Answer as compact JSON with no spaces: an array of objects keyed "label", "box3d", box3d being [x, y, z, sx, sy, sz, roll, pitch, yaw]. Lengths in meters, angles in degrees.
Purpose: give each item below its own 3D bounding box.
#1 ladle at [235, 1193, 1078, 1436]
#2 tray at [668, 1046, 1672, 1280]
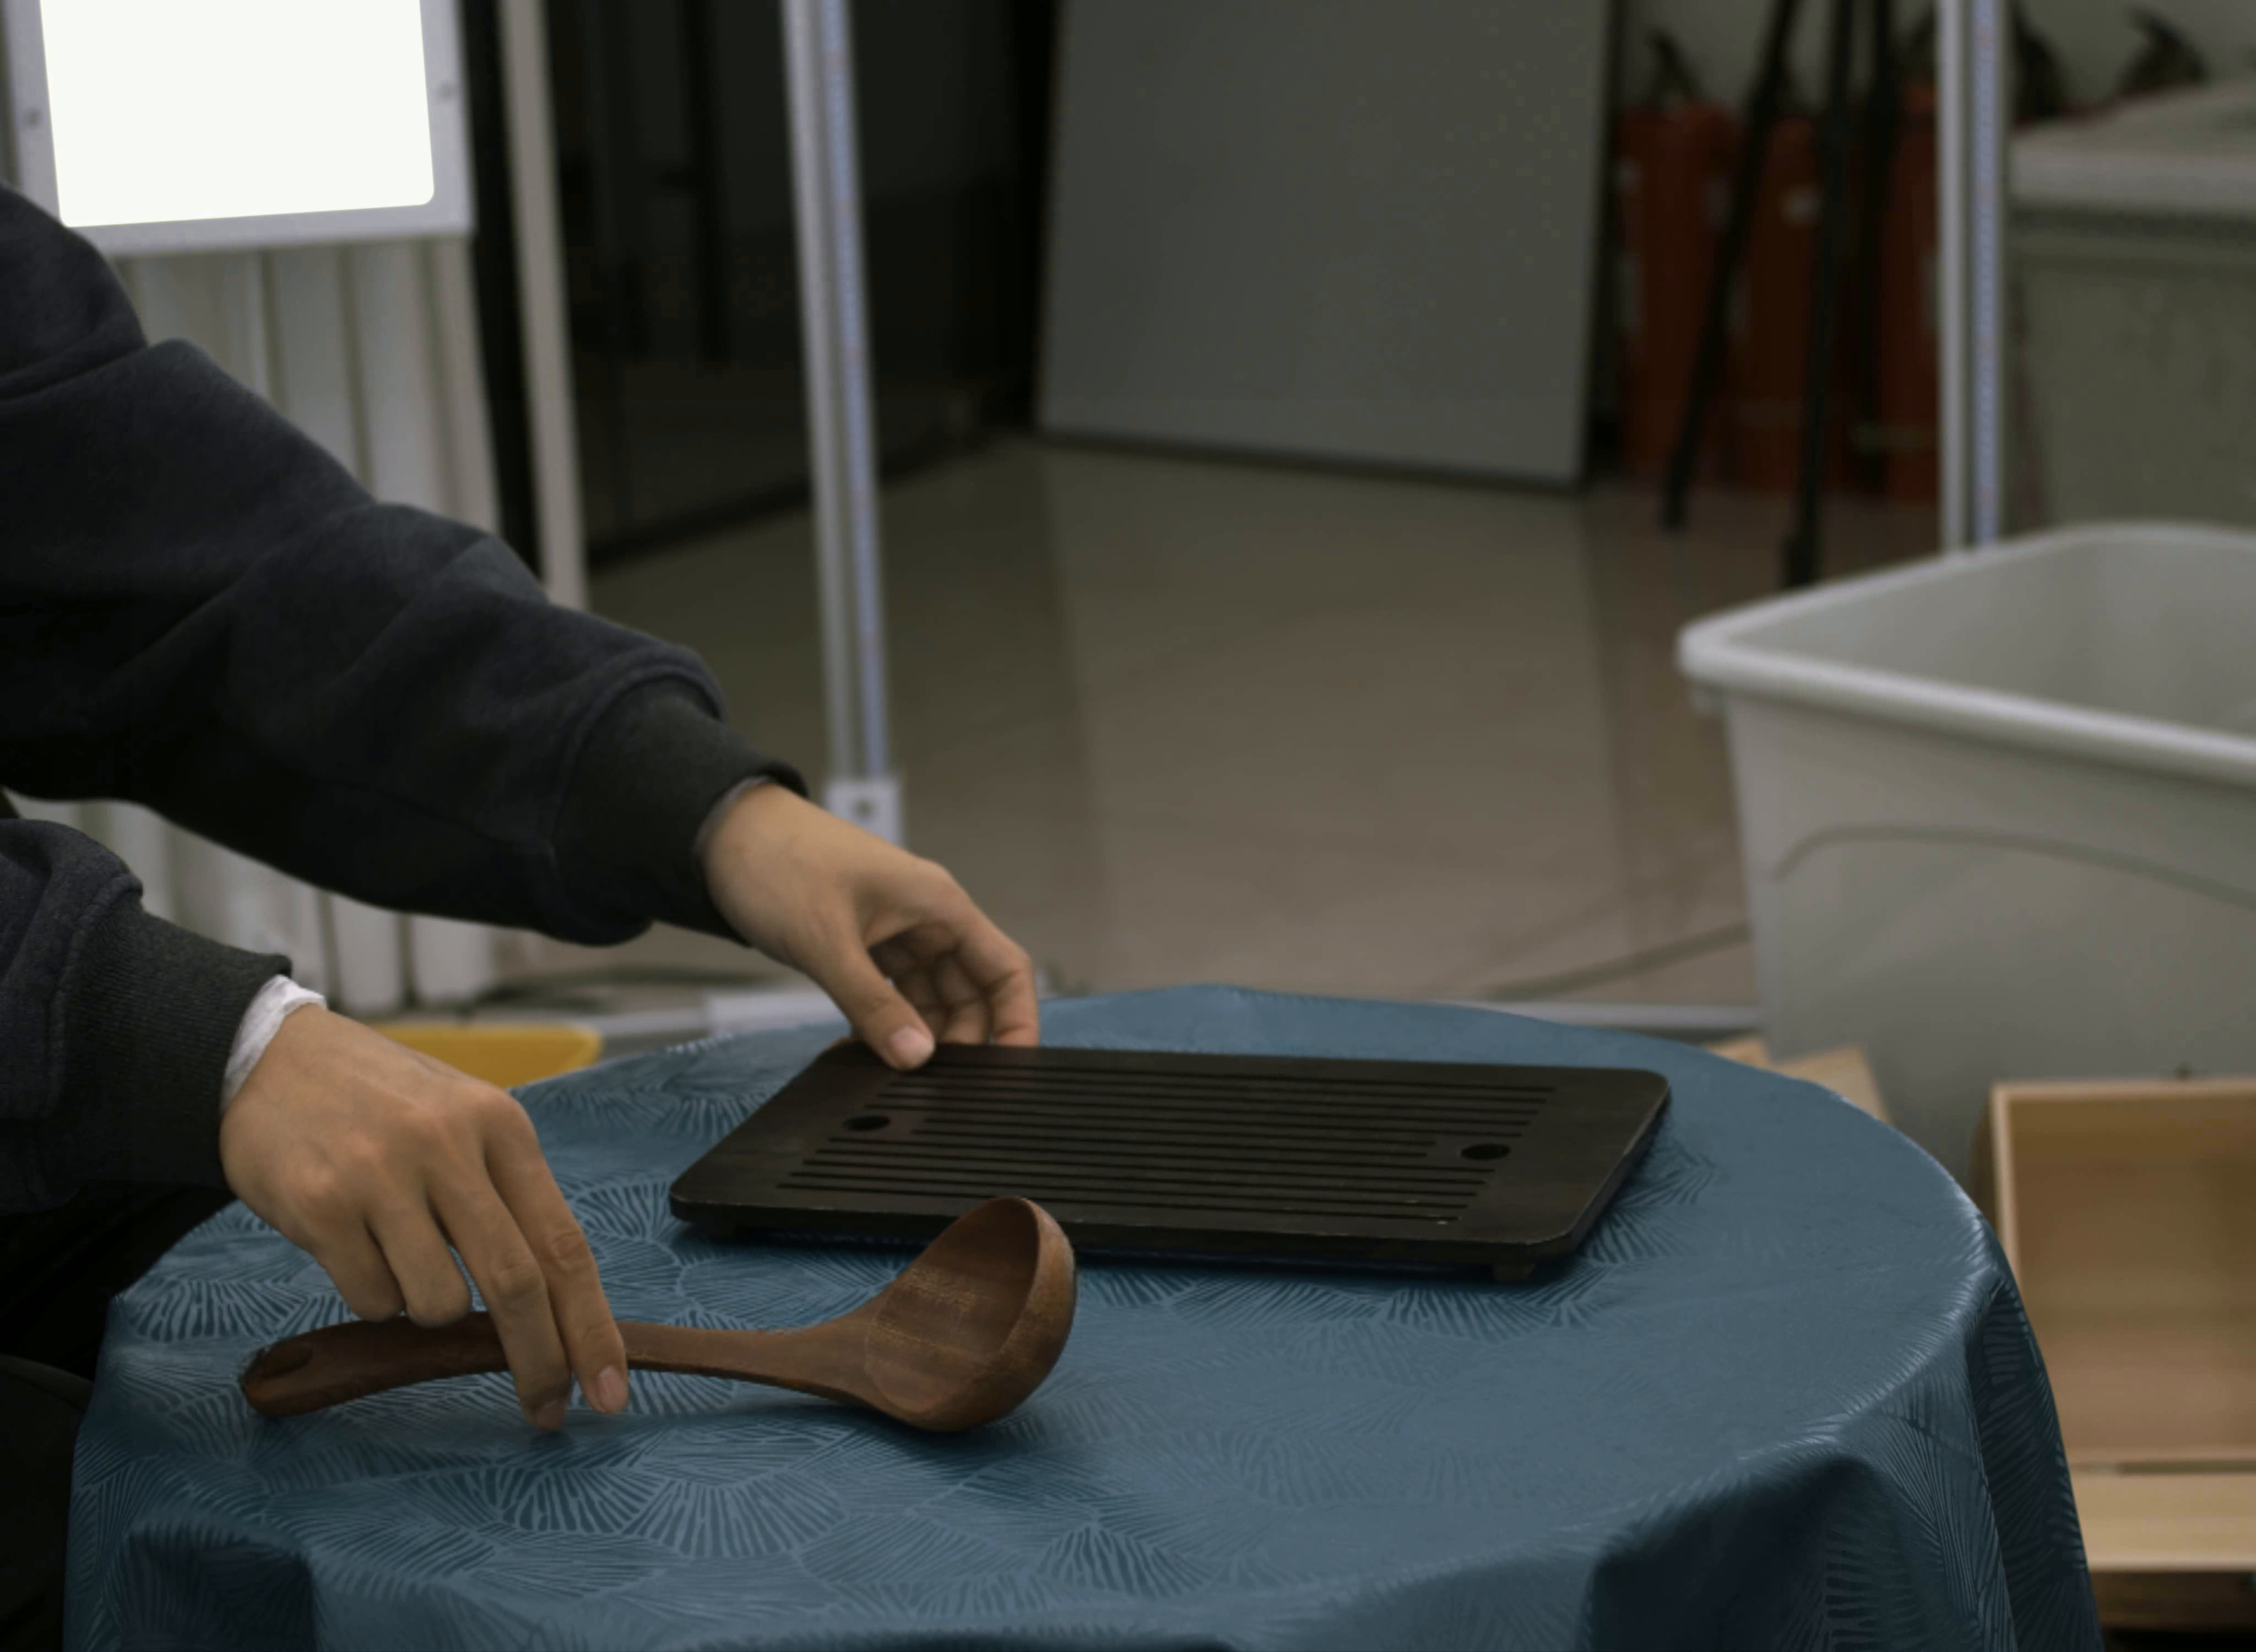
[{"label":"ladle","box3d":[-0.140,0.145,1.579,0.258,0.065,0.077,-1,40,9]},{"label":"tray","box3d":[0.016,0.109,1.771,0.305,0.019,0.168,1,15,20]}]
